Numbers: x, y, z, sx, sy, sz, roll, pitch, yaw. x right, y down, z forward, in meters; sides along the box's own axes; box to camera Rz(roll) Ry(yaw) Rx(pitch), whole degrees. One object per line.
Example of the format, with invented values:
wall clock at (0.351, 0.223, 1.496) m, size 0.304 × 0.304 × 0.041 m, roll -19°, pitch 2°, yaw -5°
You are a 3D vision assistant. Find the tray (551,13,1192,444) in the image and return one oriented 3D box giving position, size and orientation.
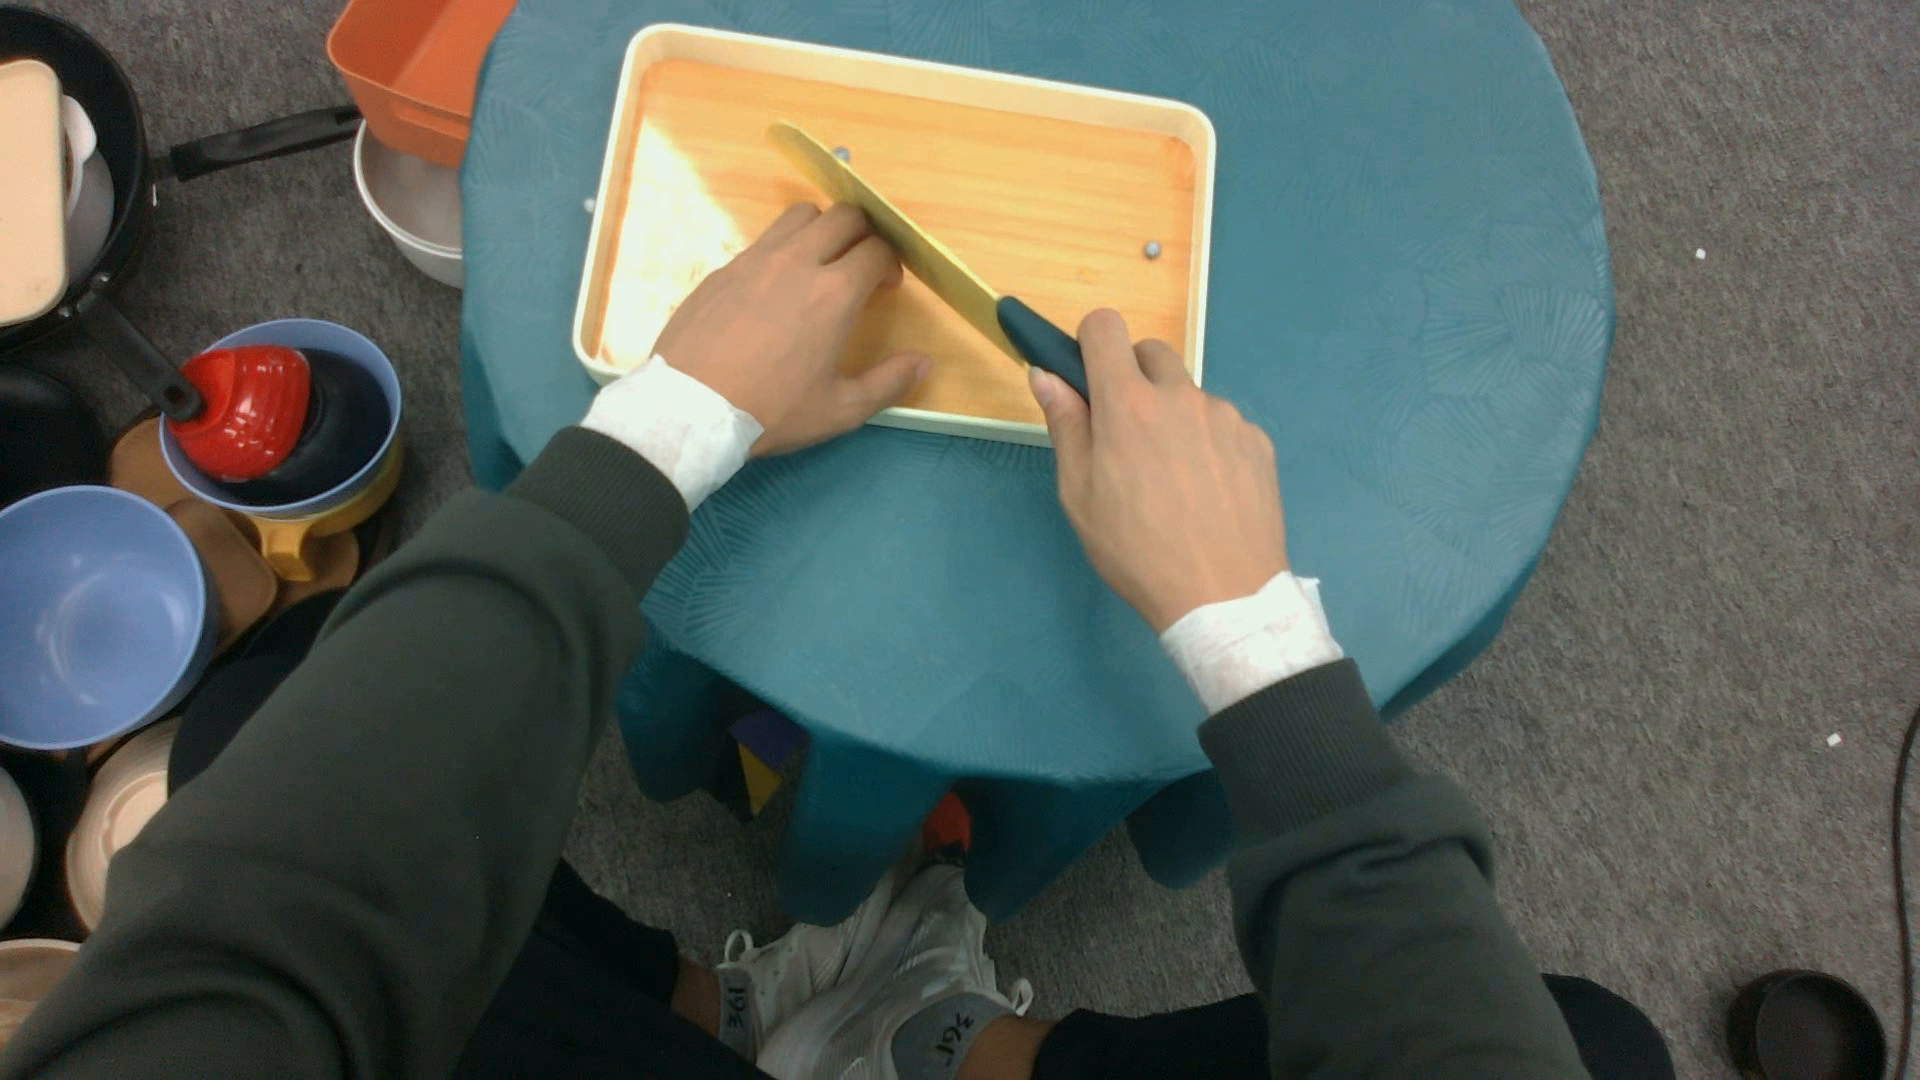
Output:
tray at (-0.037, -0.154, 0.685) m, size 0.300 × 0.027 × 0.192 m, roll 7°, pitch 75°, yaw -5°

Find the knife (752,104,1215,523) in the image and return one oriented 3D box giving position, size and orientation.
knife at (0.003, -0.108, 0.628) m, size 0.289 × 0.081 × 0.027 m, roll 44°, pitch 86°, yaw 12°
